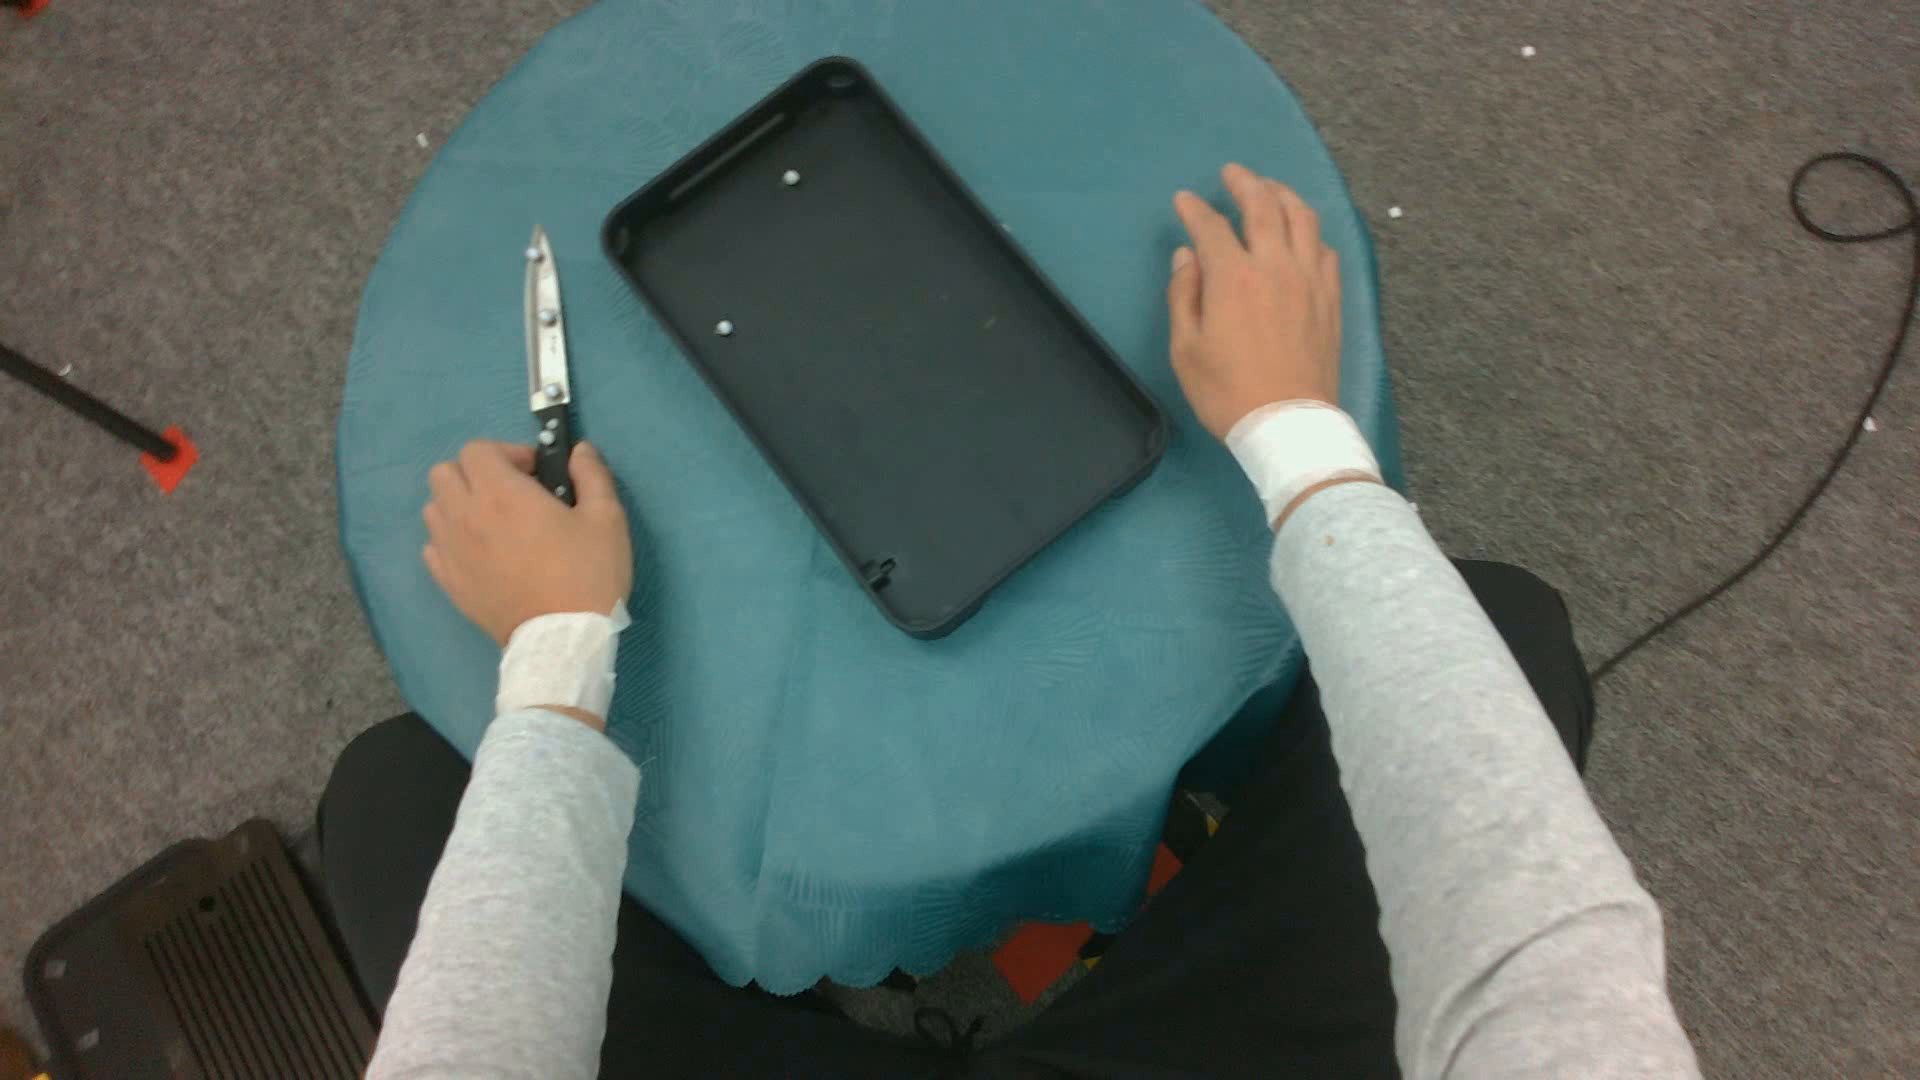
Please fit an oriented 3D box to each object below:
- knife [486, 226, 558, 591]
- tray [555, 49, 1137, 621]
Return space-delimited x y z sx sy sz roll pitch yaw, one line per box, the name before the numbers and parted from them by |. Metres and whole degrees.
knife | -0.252 -0.083 0.788 0.024 0.016 0.239 -15 69 3
tray | -0.067 -0.120 0.770 0.184 0.037 0.318 -41 75 -6
